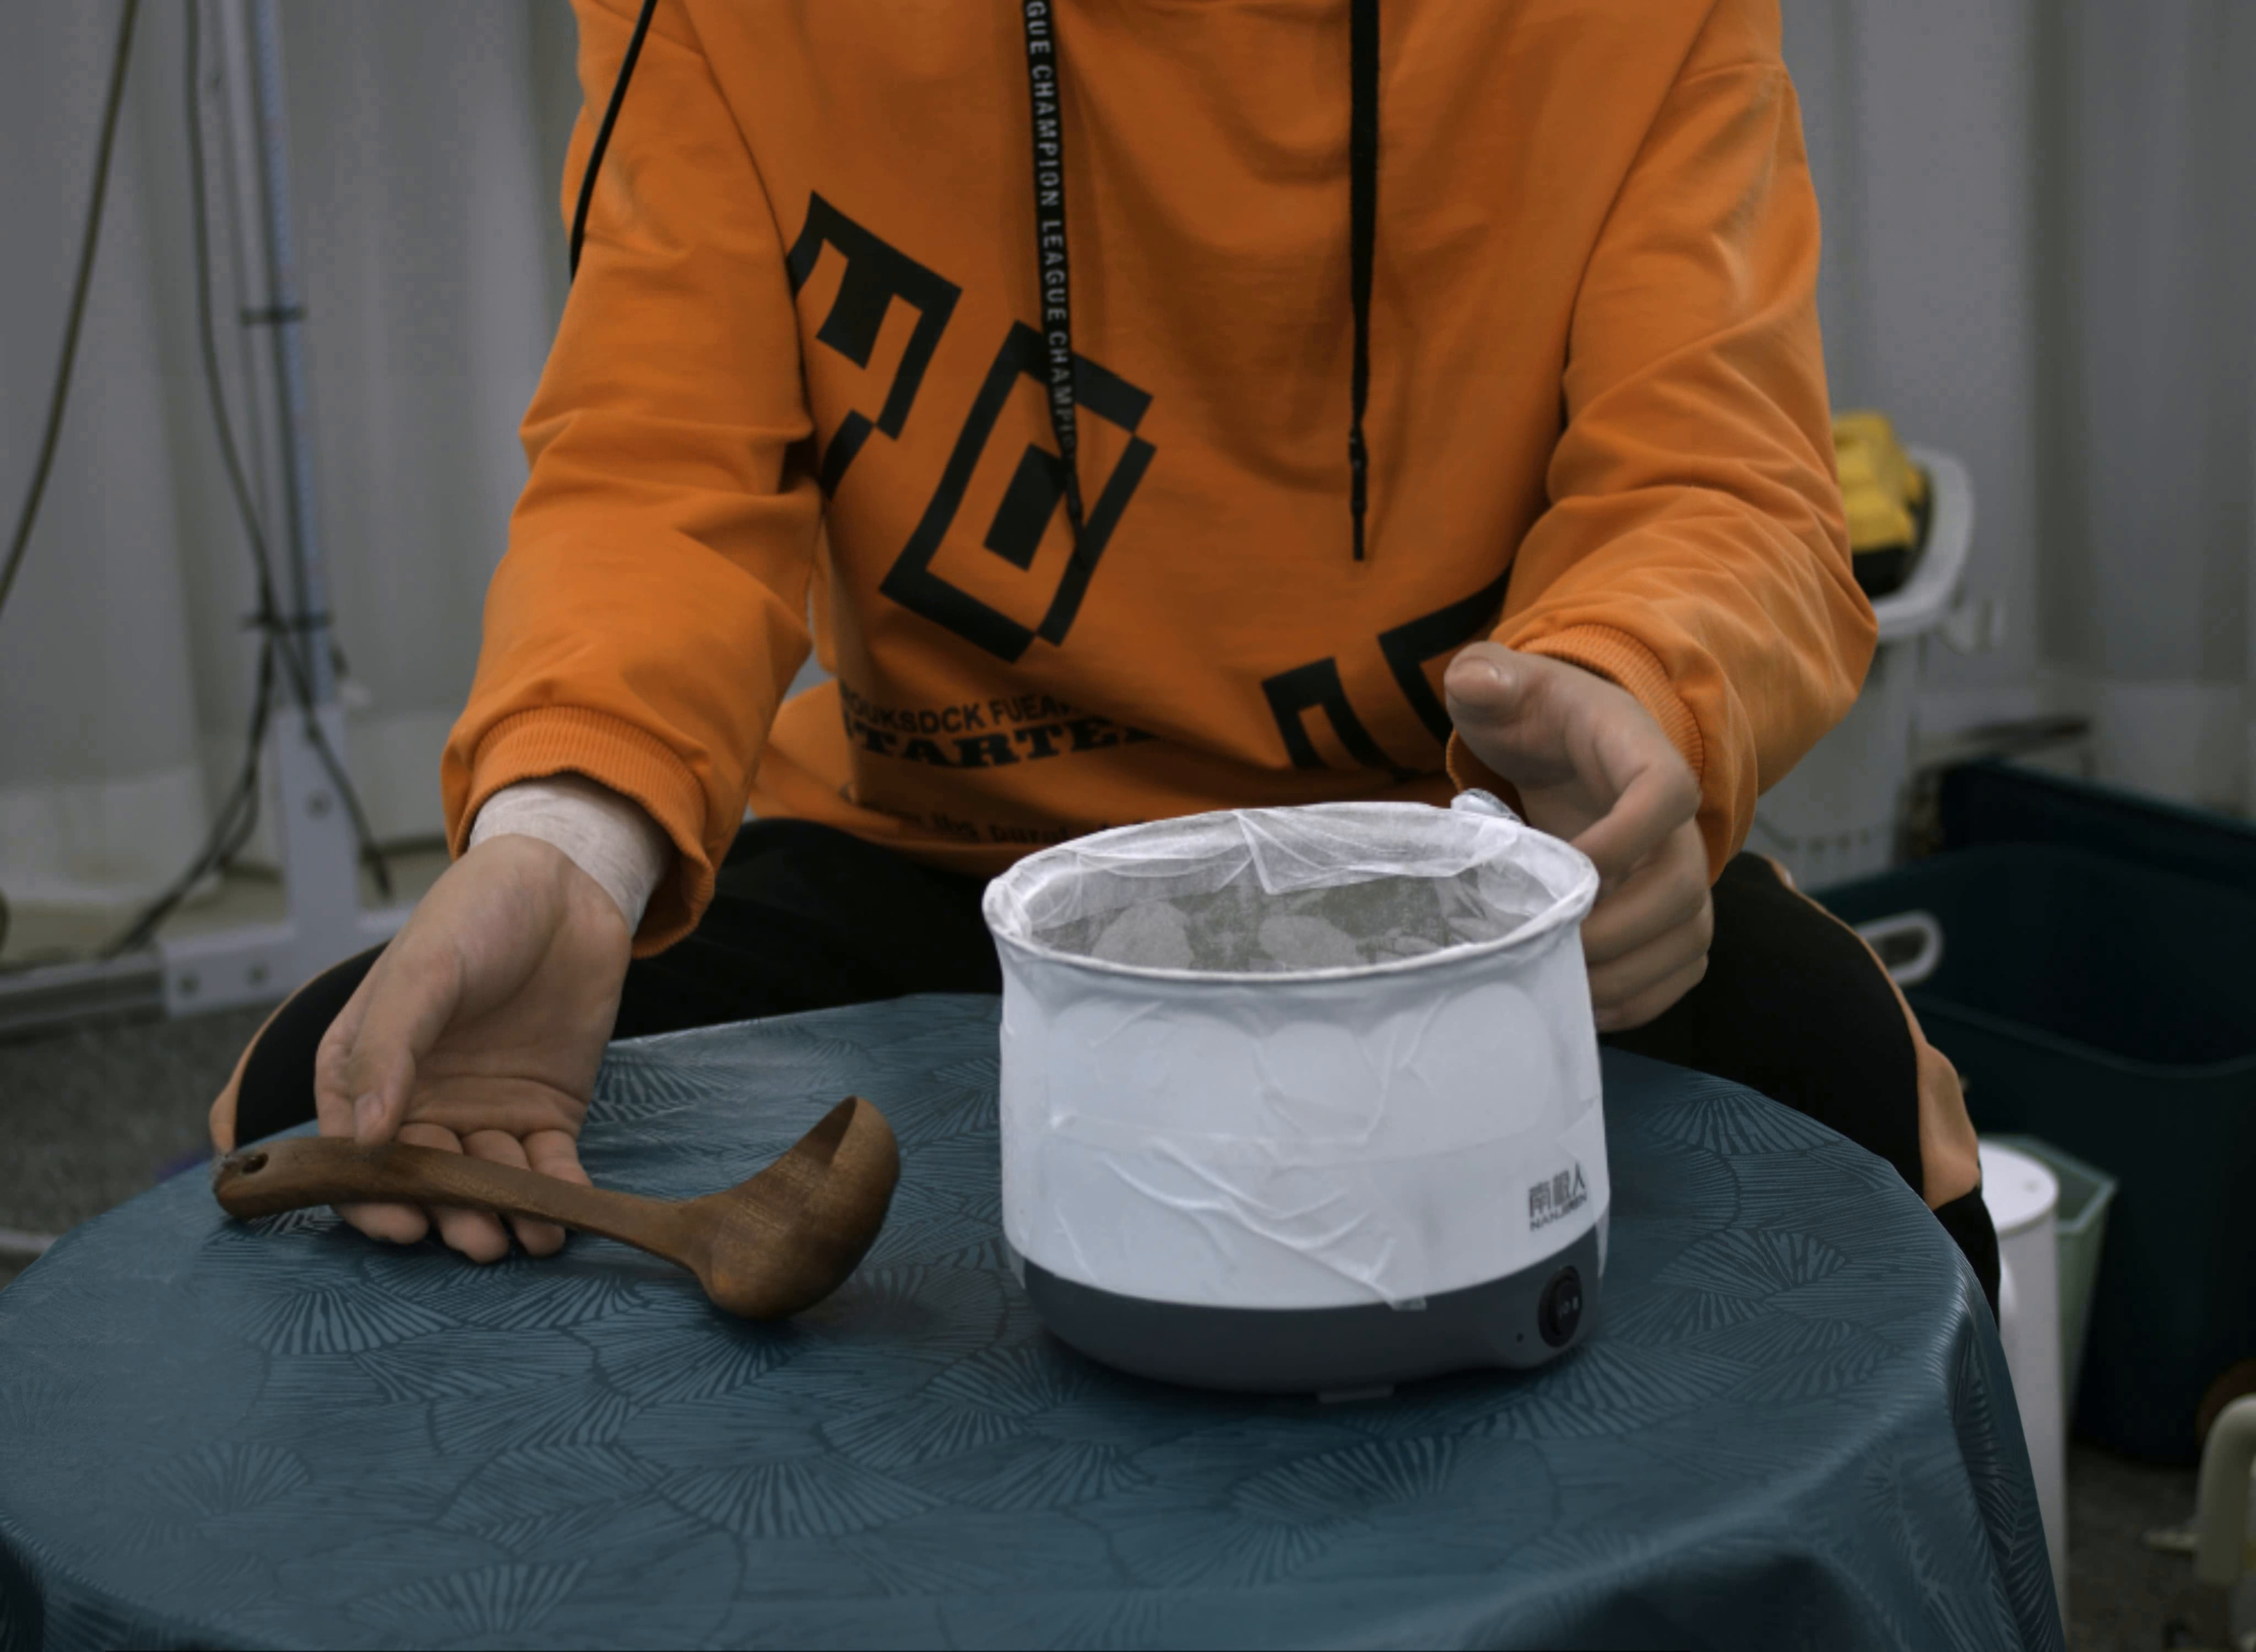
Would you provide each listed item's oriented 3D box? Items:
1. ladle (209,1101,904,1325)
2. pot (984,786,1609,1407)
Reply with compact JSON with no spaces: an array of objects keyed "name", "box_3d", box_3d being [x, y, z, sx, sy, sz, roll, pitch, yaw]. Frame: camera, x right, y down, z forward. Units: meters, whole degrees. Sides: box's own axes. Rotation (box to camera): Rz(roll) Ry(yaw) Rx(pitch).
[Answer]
[{"name":"ladle","box_3d":[-0.182,0.107,1.665,0.261,0.064,0.077,6,42,28]},{"name":"pot","box_3d":[0.065,0.071,1.600,0.179,0.136,0.234,8,18,34]}]
